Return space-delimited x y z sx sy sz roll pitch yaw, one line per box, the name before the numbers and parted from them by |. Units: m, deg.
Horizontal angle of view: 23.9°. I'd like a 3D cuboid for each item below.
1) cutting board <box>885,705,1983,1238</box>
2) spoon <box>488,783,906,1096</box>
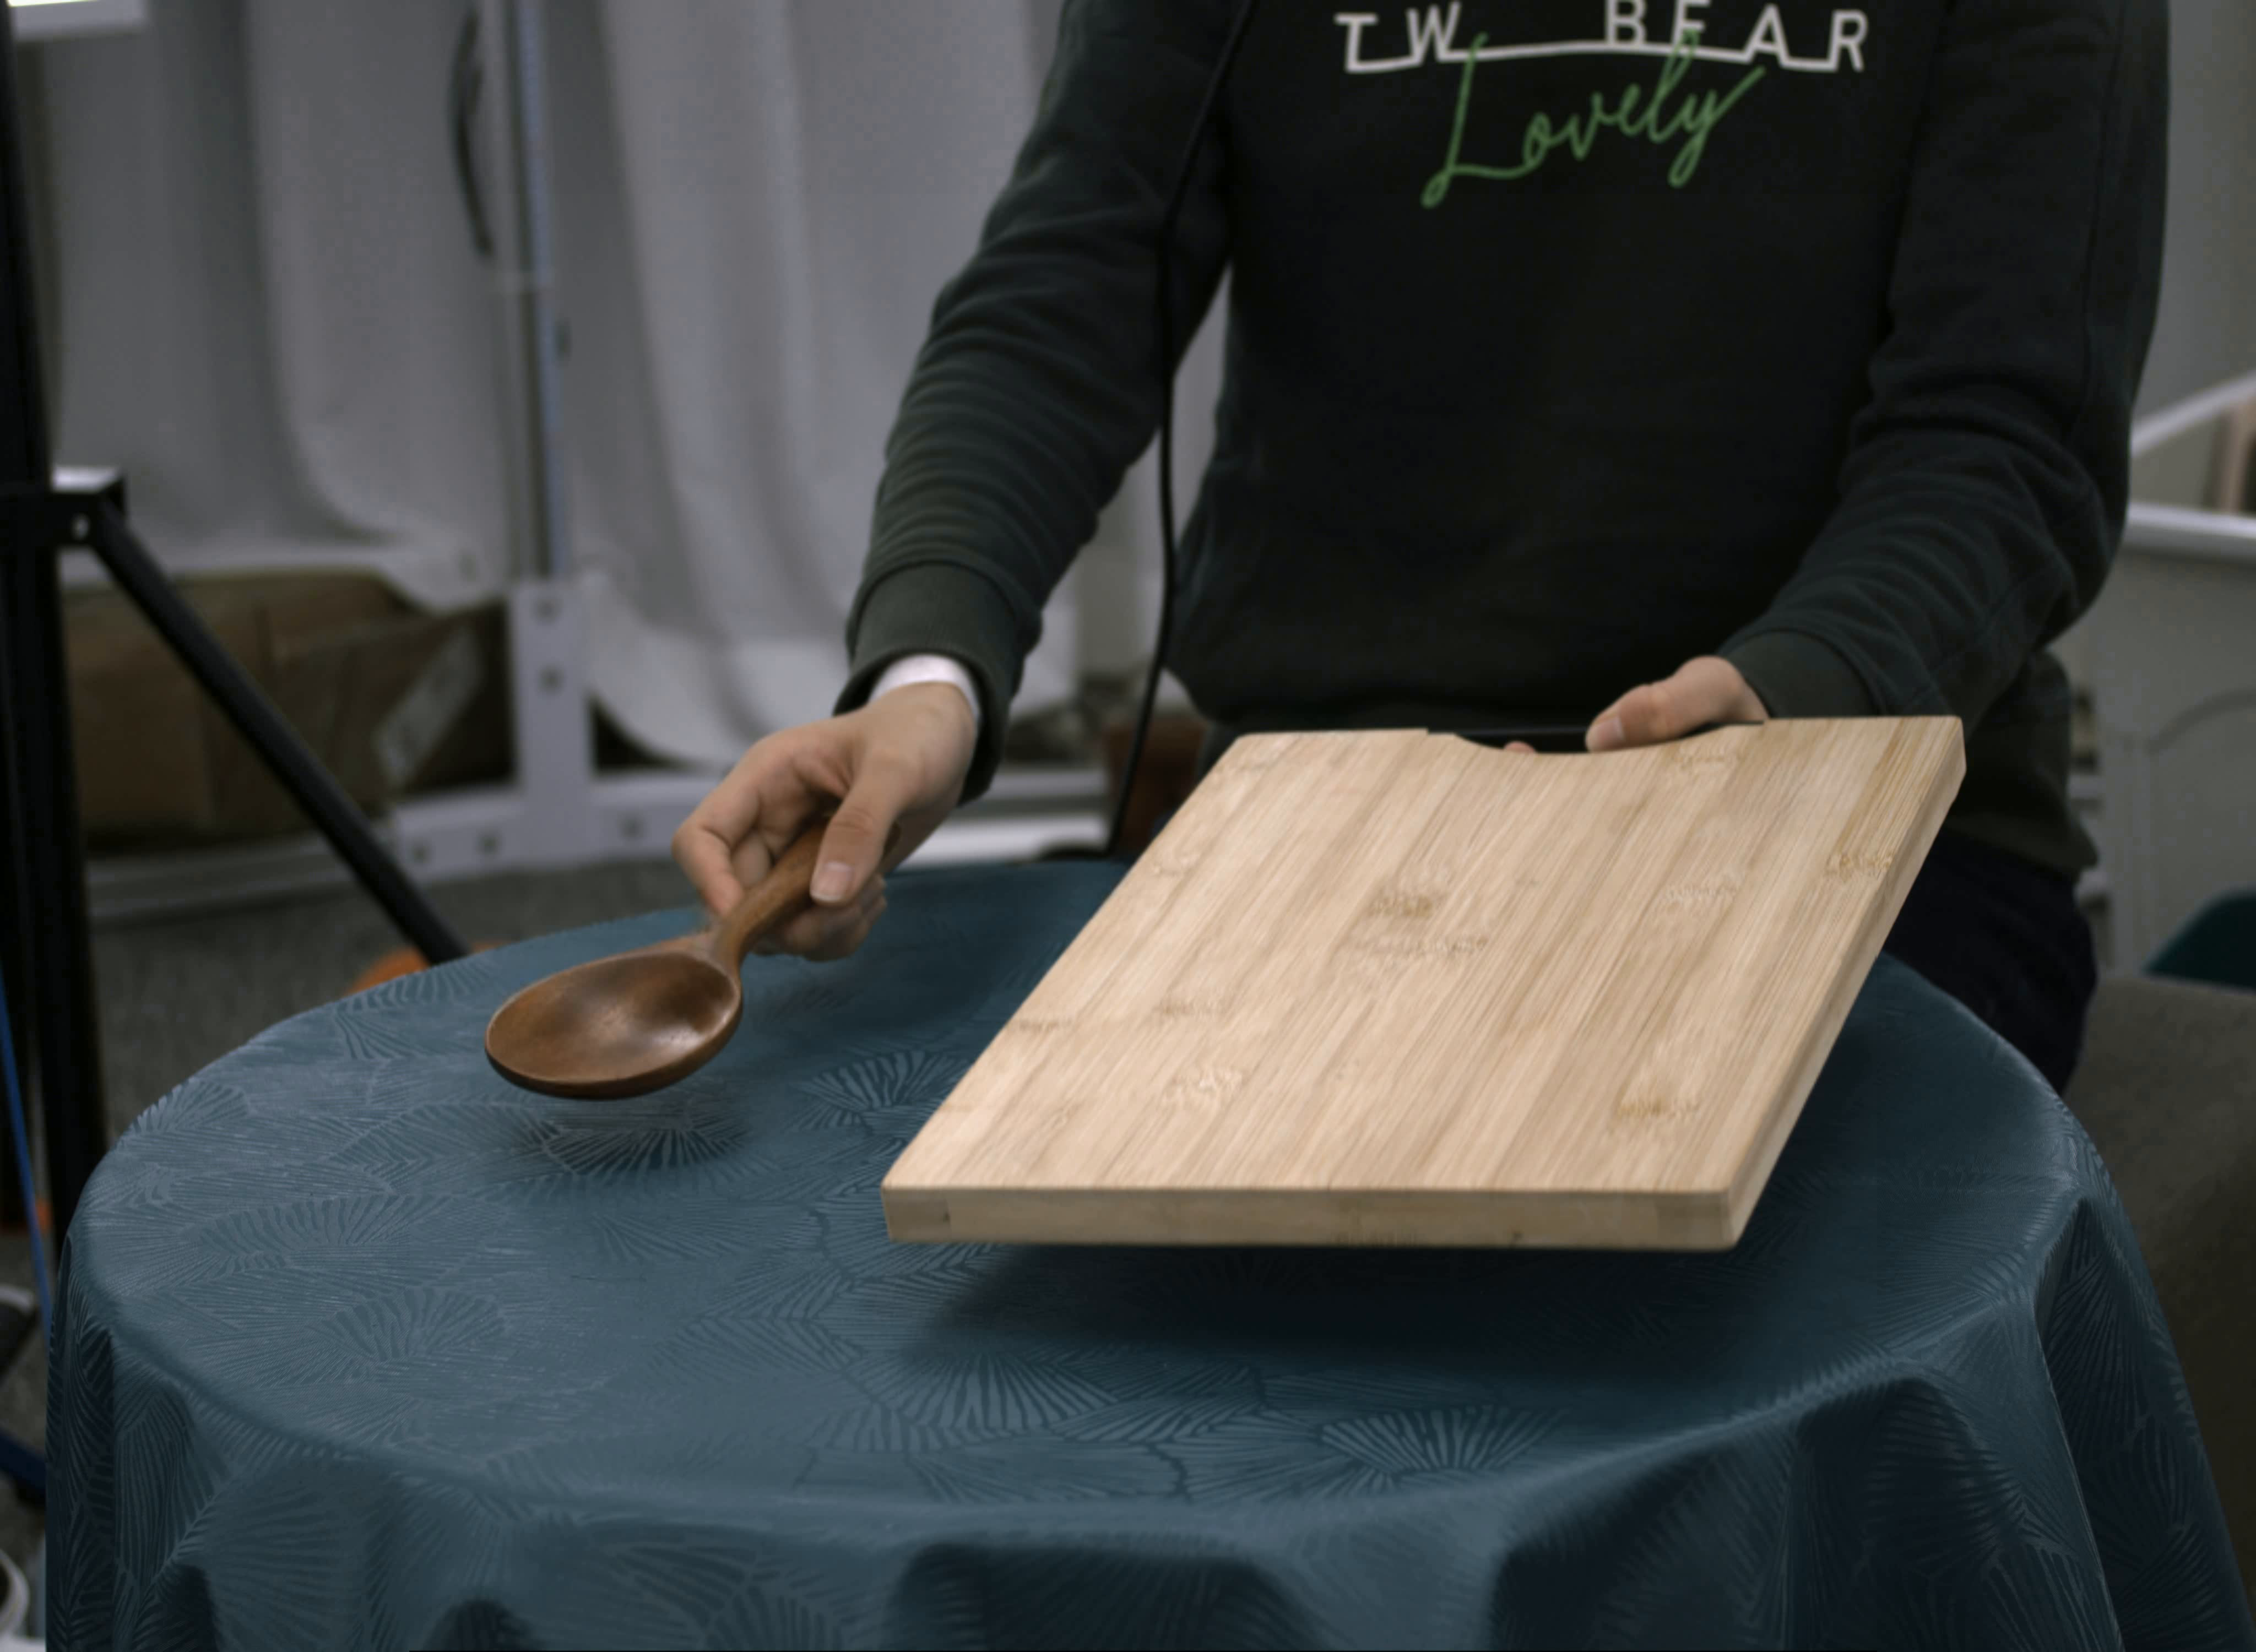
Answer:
cutting board | 0.100 0.037 1.559 0.253 0.023 0.346 -1 22 20
spoon | -0.127 0.037 1.682 0.077 0.017 0.213 6 28 27
